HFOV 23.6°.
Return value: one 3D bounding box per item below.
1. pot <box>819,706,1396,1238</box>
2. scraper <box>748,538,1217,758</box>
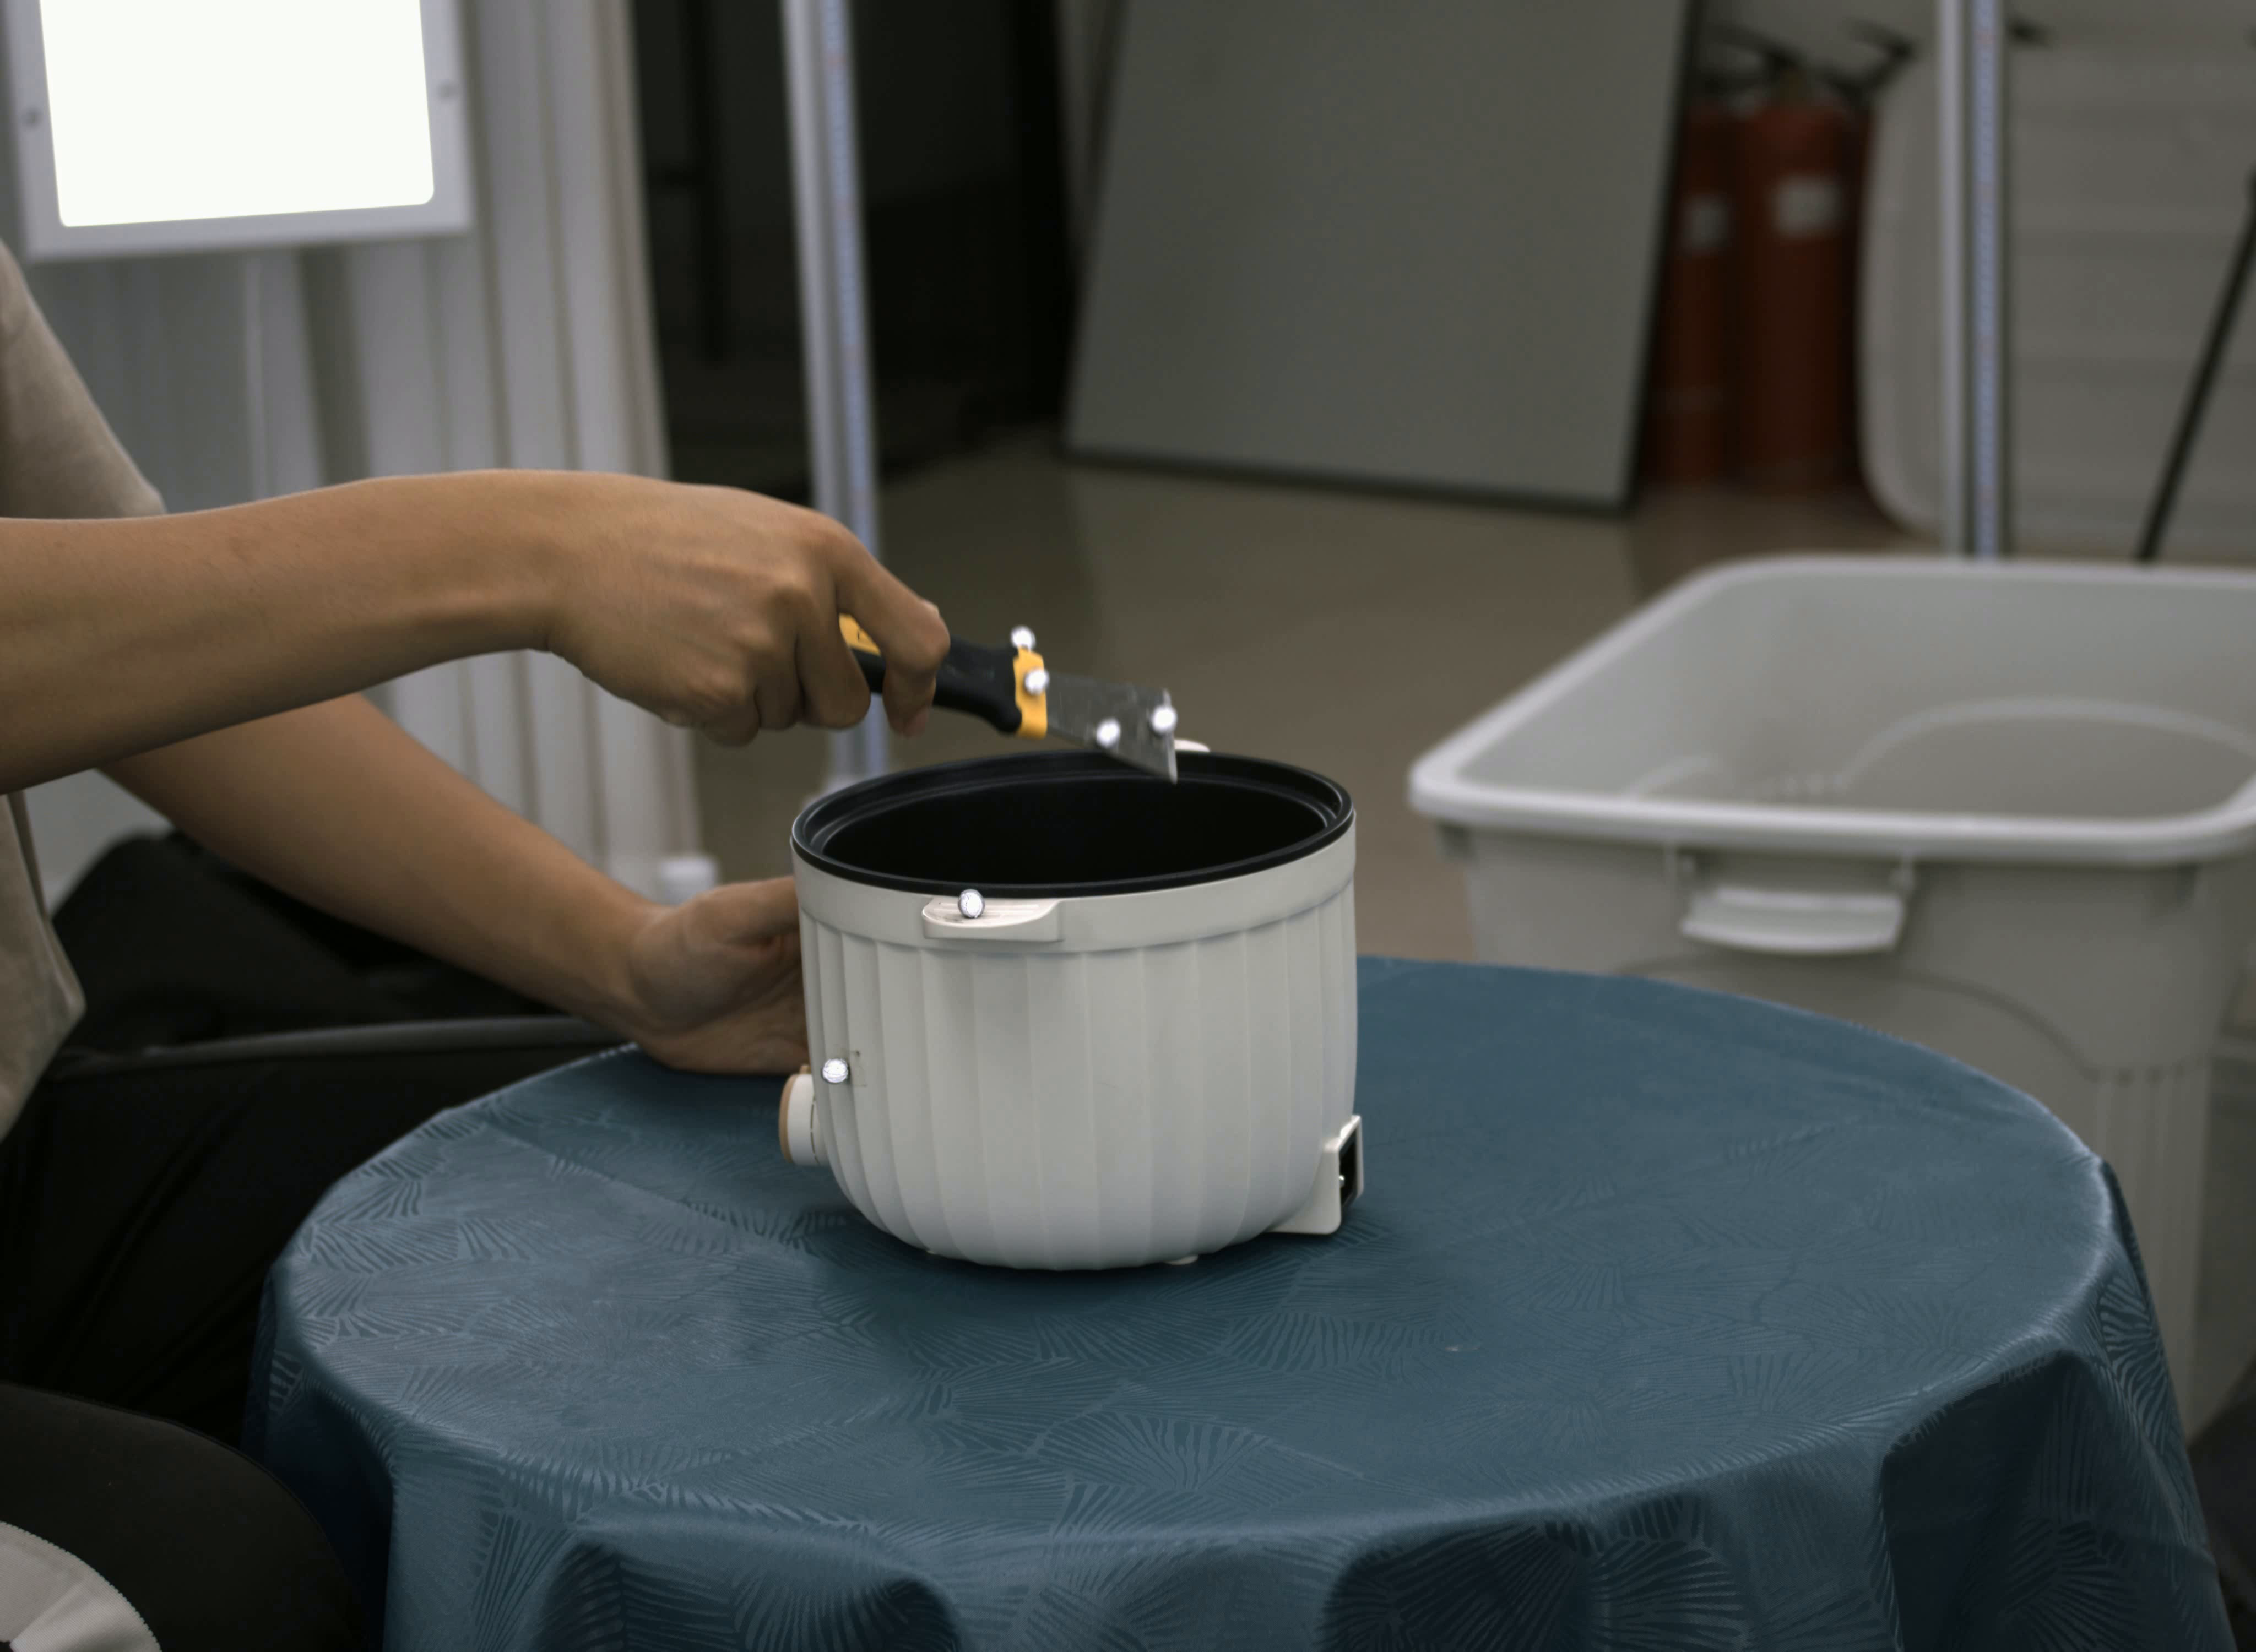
[{"bbox_3d":[-0.007,0.050,1.747,0.189,0.144,0.238,4,14,14],"label":"pot"},{"bbox_3d":[-0.043,-0.057,1.695,0.167,0.039,0.015,15,-33,-28],"label":"scraper"}]
